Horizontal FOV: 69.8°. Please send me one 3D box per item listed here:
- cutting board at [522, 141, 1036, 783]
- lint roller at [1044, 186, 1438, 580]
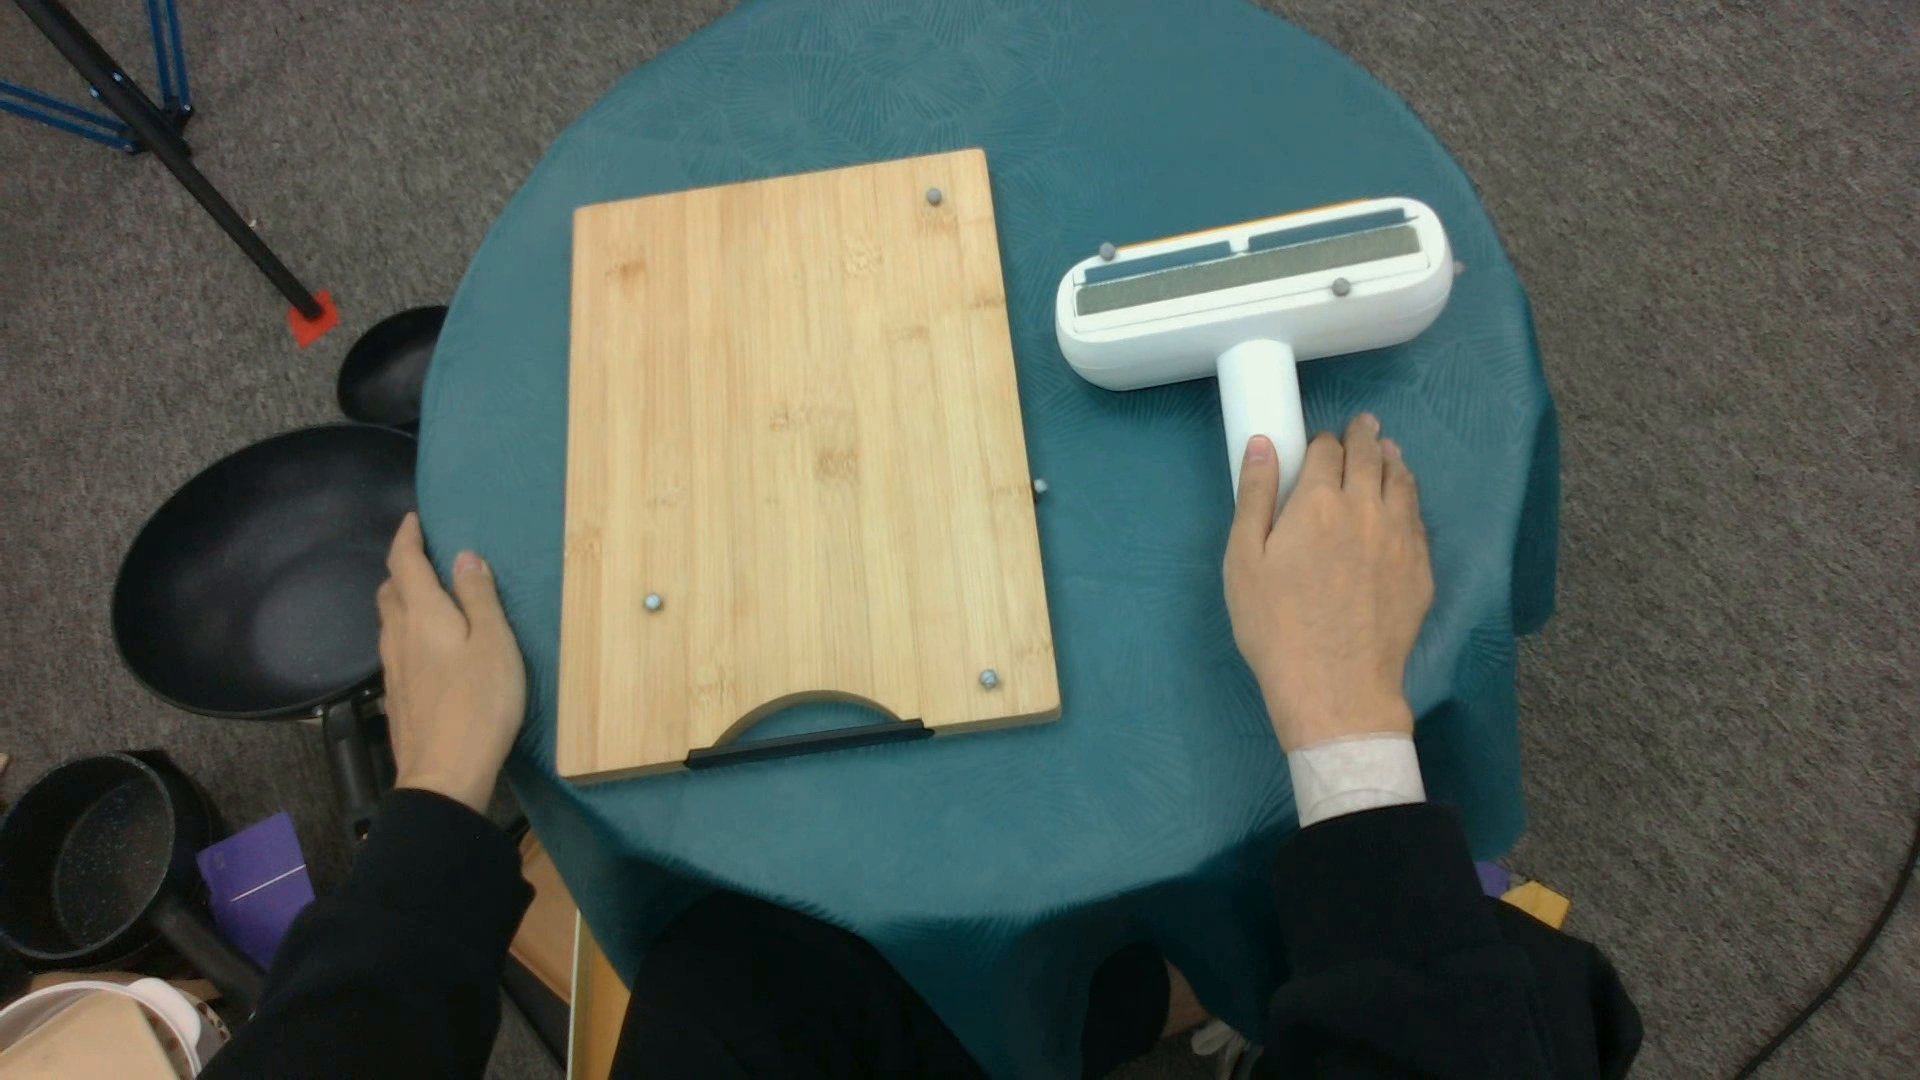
[{"bbox_3d":[-0.101,-0.058,0.719,0.250,0.023,0.350,-9,64,2],"label":"cutting board"},{"bbox_3d":[0.138,-0.078,0.677,0.192,0.074,0.193,-3,66,10],"label":"lint roller"}]
